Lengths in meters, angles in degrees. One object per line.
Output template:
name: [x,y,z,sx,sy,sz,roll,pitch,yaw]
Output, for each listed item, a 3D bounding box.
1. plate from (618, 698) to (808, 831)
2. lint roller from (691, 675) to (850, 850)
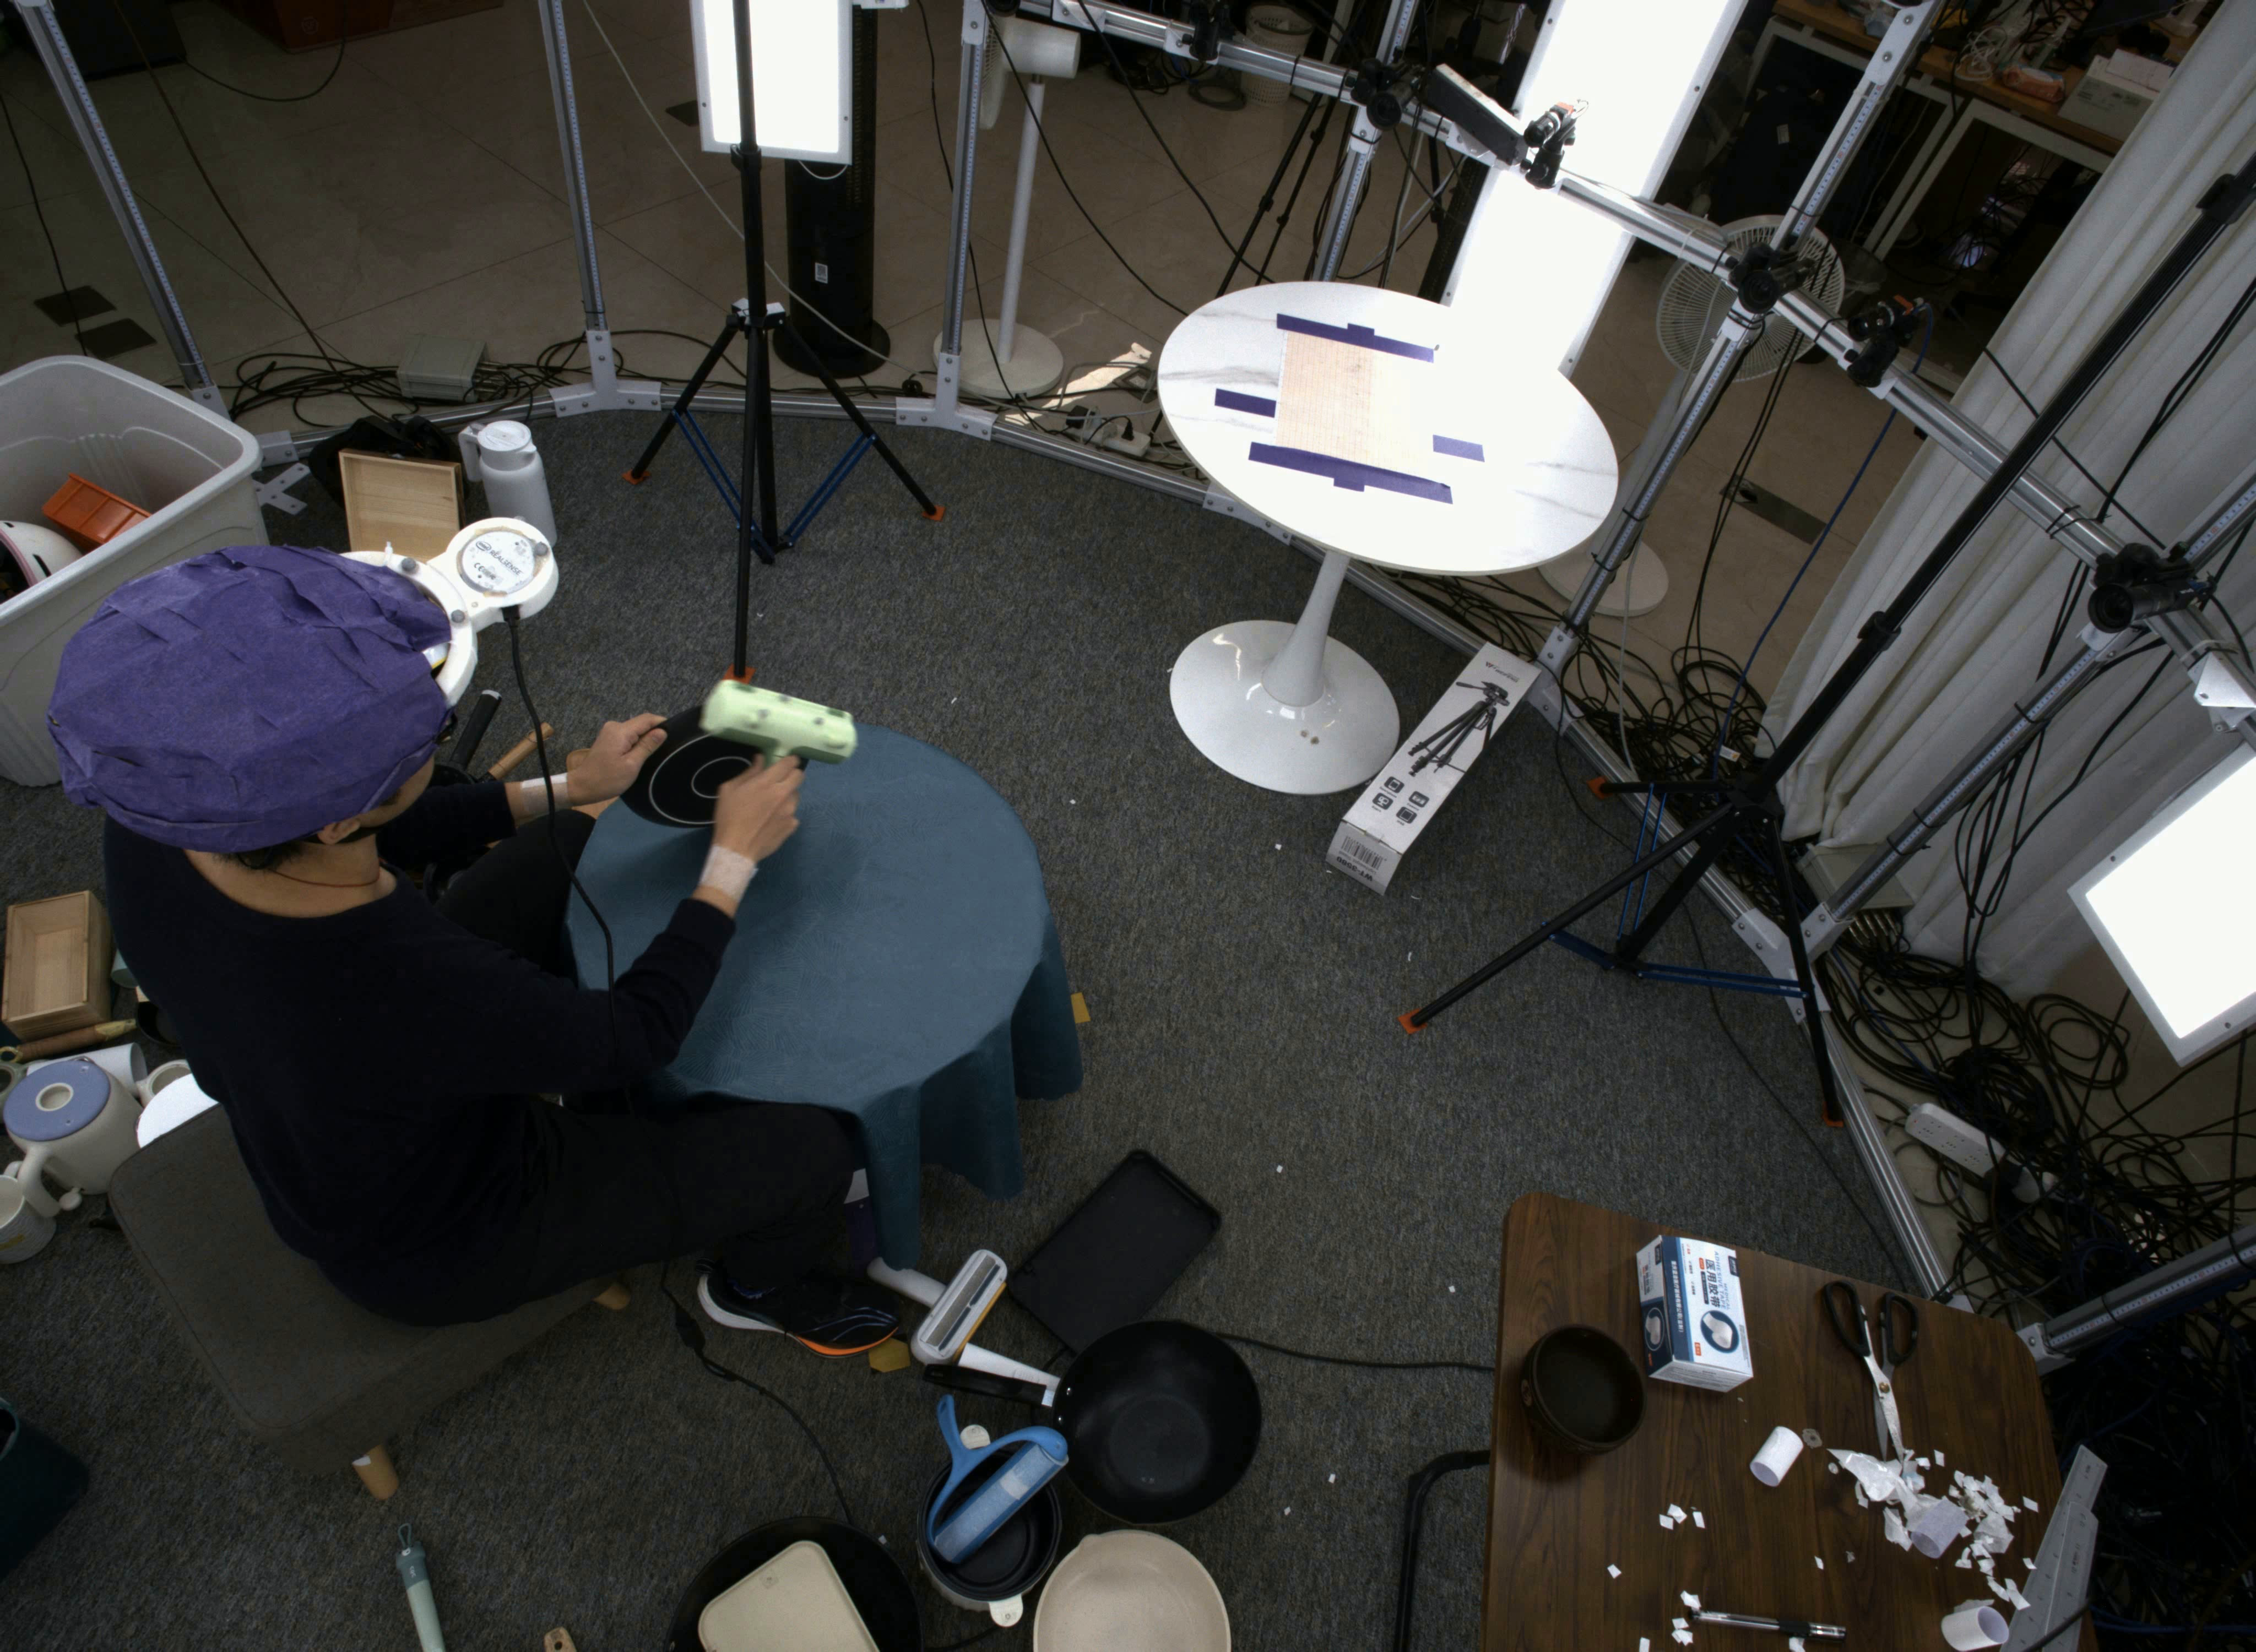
plate: [-0.506,-0.070,1.587,0.246,0.249,0.023,-17,58,-24]
lint roller: [-0.415,-0.068,1.520,0.204,0.080,0.184,11,77,-50]
